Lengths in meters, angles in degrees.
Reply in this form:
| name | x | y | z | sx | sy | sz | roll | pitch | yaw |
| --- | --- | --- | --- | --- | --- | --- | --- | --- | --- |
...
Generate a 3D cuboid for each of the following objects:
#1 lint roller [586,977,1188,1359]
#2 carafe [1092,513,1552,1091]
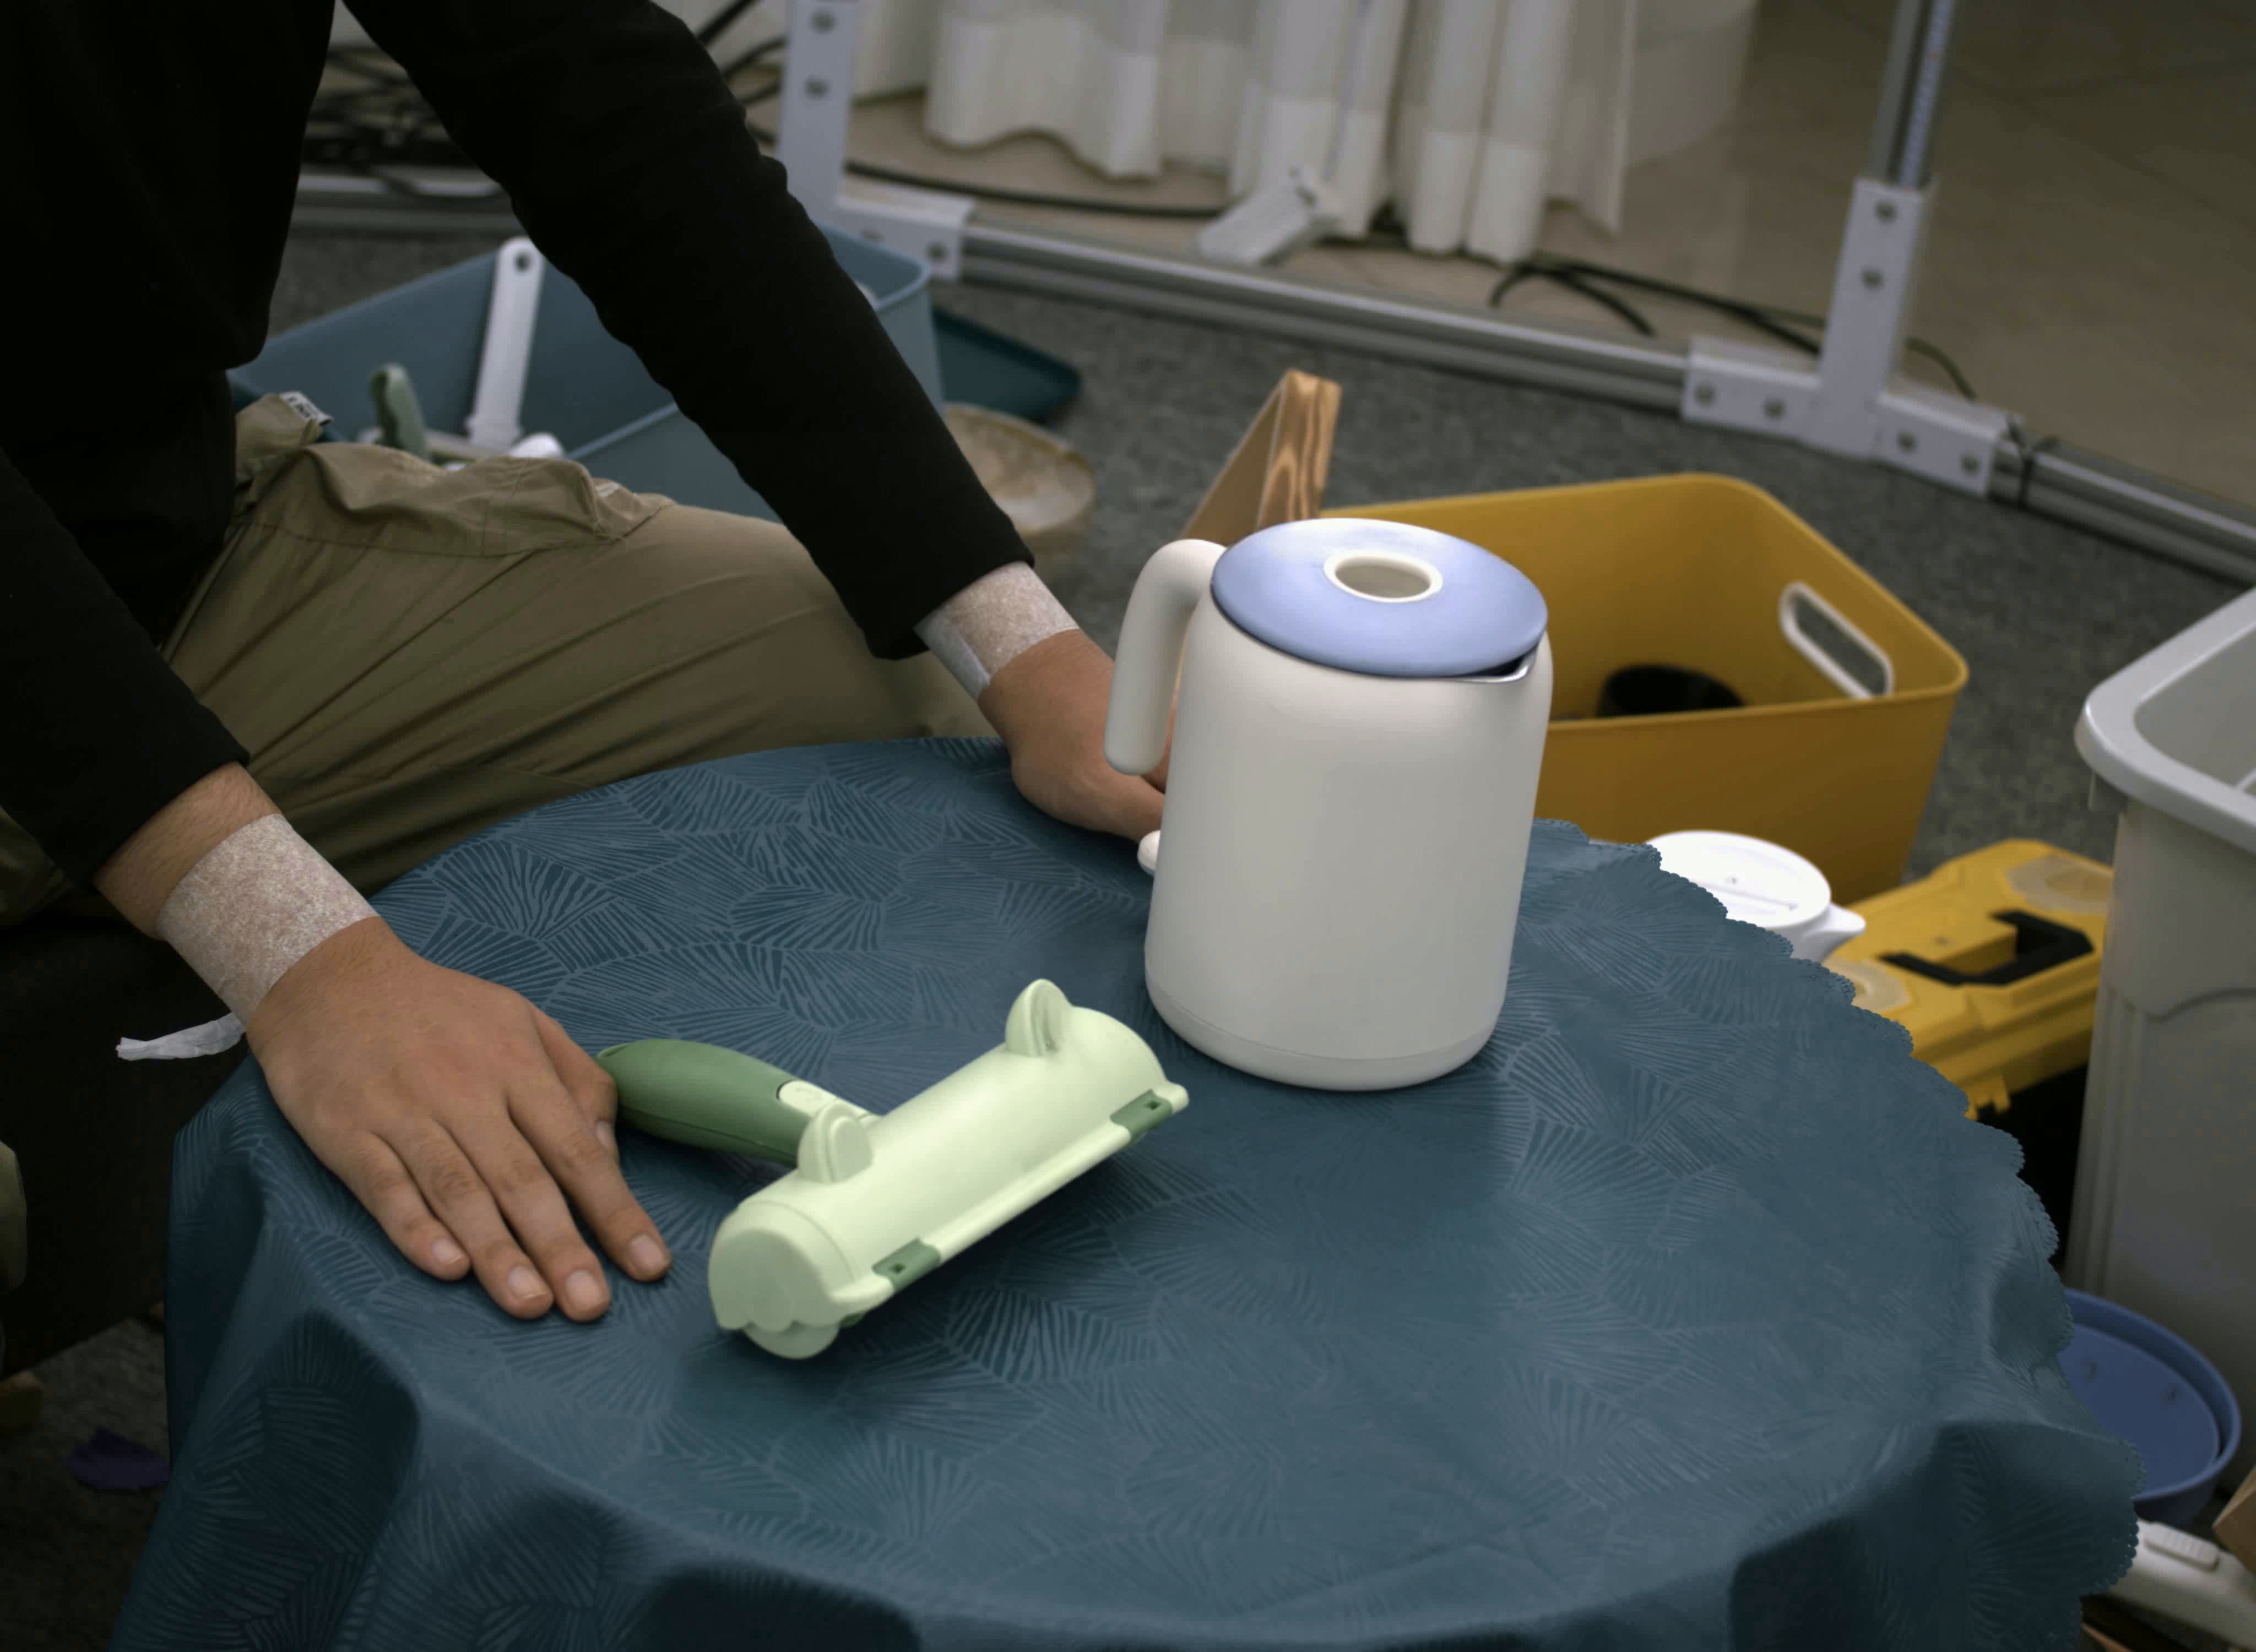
| name | x | y | z | sx | sy | sz | roll | pitch | yaw |
| --- | --- | --- | --- | --- | --- | --- | --- | --- | --- |
| lint roller | -0.104 | 0.088 | 1.763 | 0.184 | 0.082 | 0.198 | 24 | 31 | 26 |
| carafe | 0.061 | -0.018 | 1.905 | 0.192 | 0.182 | 0.131 | 27 | 32 | 38 |
